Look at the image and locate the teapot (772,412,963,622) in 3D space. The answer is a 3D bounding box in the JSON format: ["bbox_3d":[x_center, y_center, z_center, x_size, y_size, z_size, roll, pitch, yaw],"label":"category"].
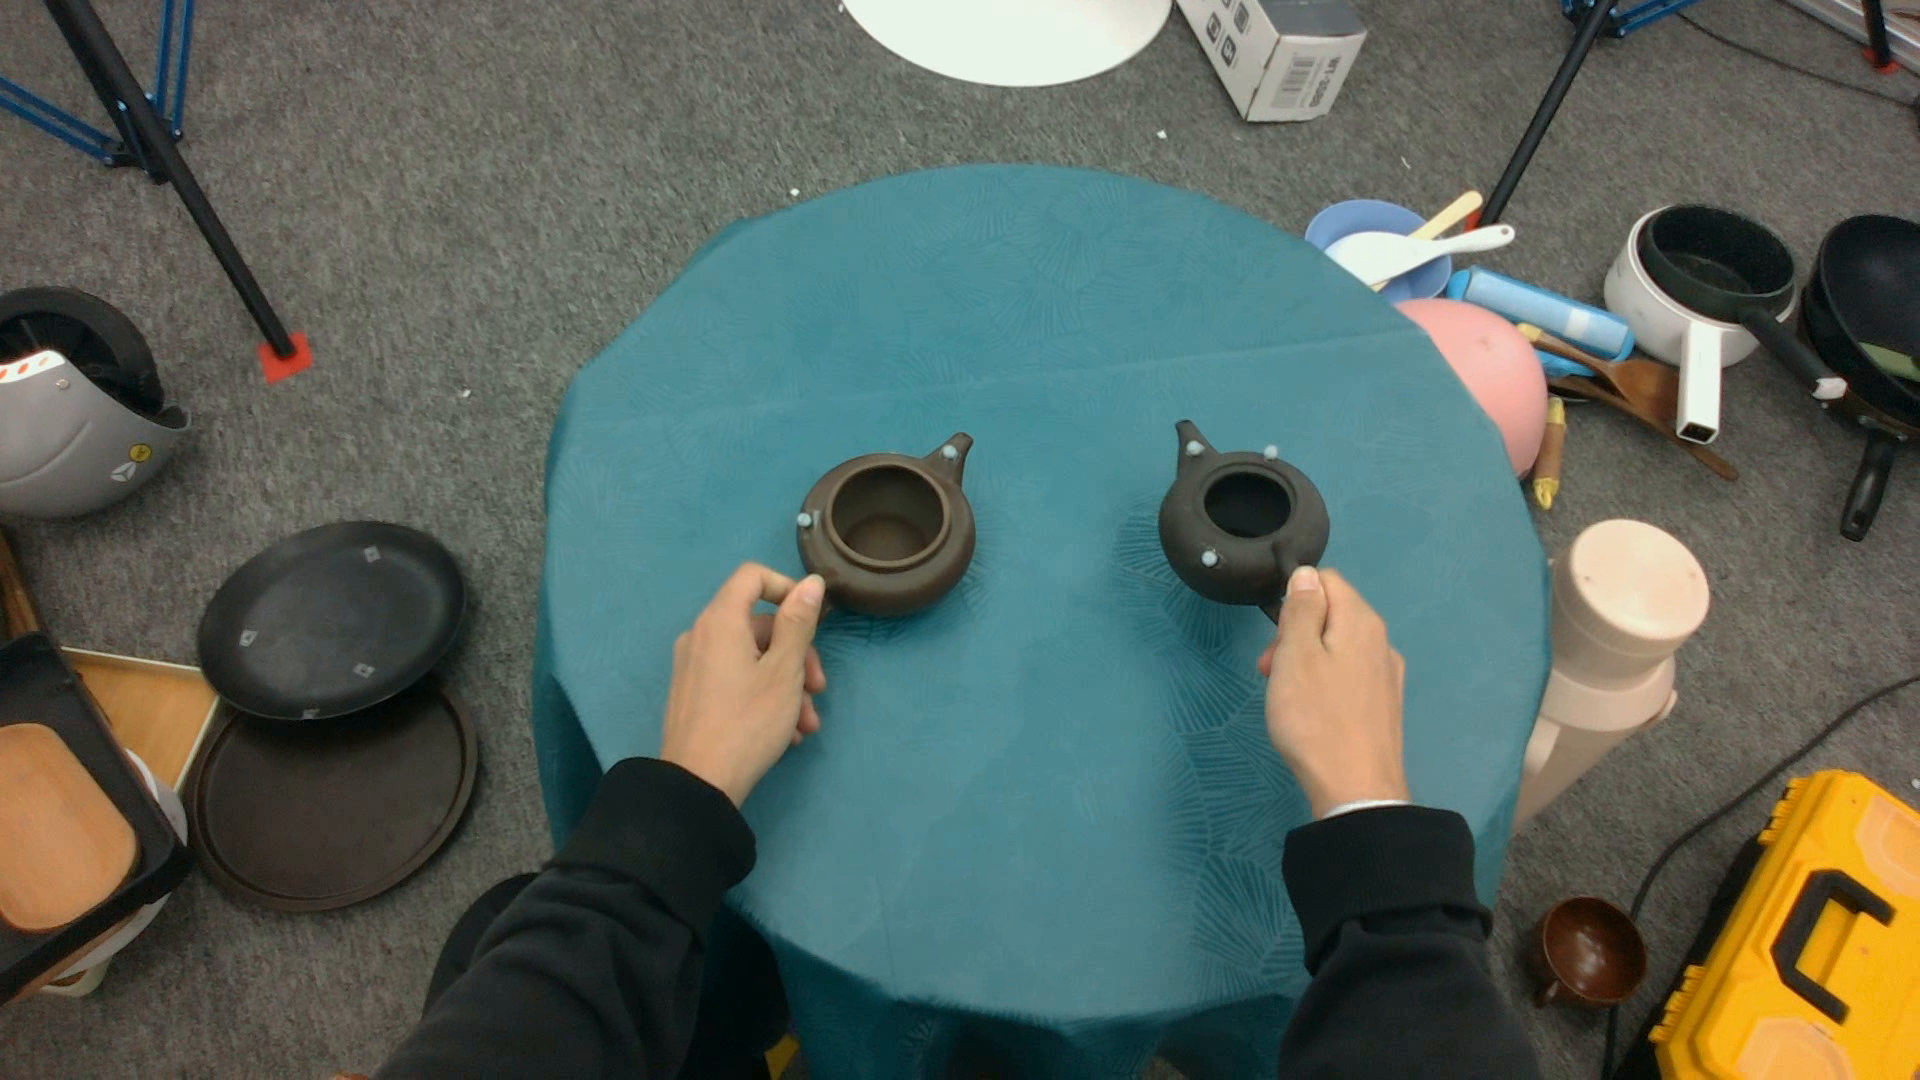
[{"bbox_3d":[-0.052,-0.010,0.778,0.102,0.053,0.154,31,60,15],"label":"teapot"}]

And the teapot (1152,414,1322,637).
[{"bbox_3d":[0.155,-0.007,0.769,0.092,0.064,0.154,-19,52,-9],"label":"teapot"}]
